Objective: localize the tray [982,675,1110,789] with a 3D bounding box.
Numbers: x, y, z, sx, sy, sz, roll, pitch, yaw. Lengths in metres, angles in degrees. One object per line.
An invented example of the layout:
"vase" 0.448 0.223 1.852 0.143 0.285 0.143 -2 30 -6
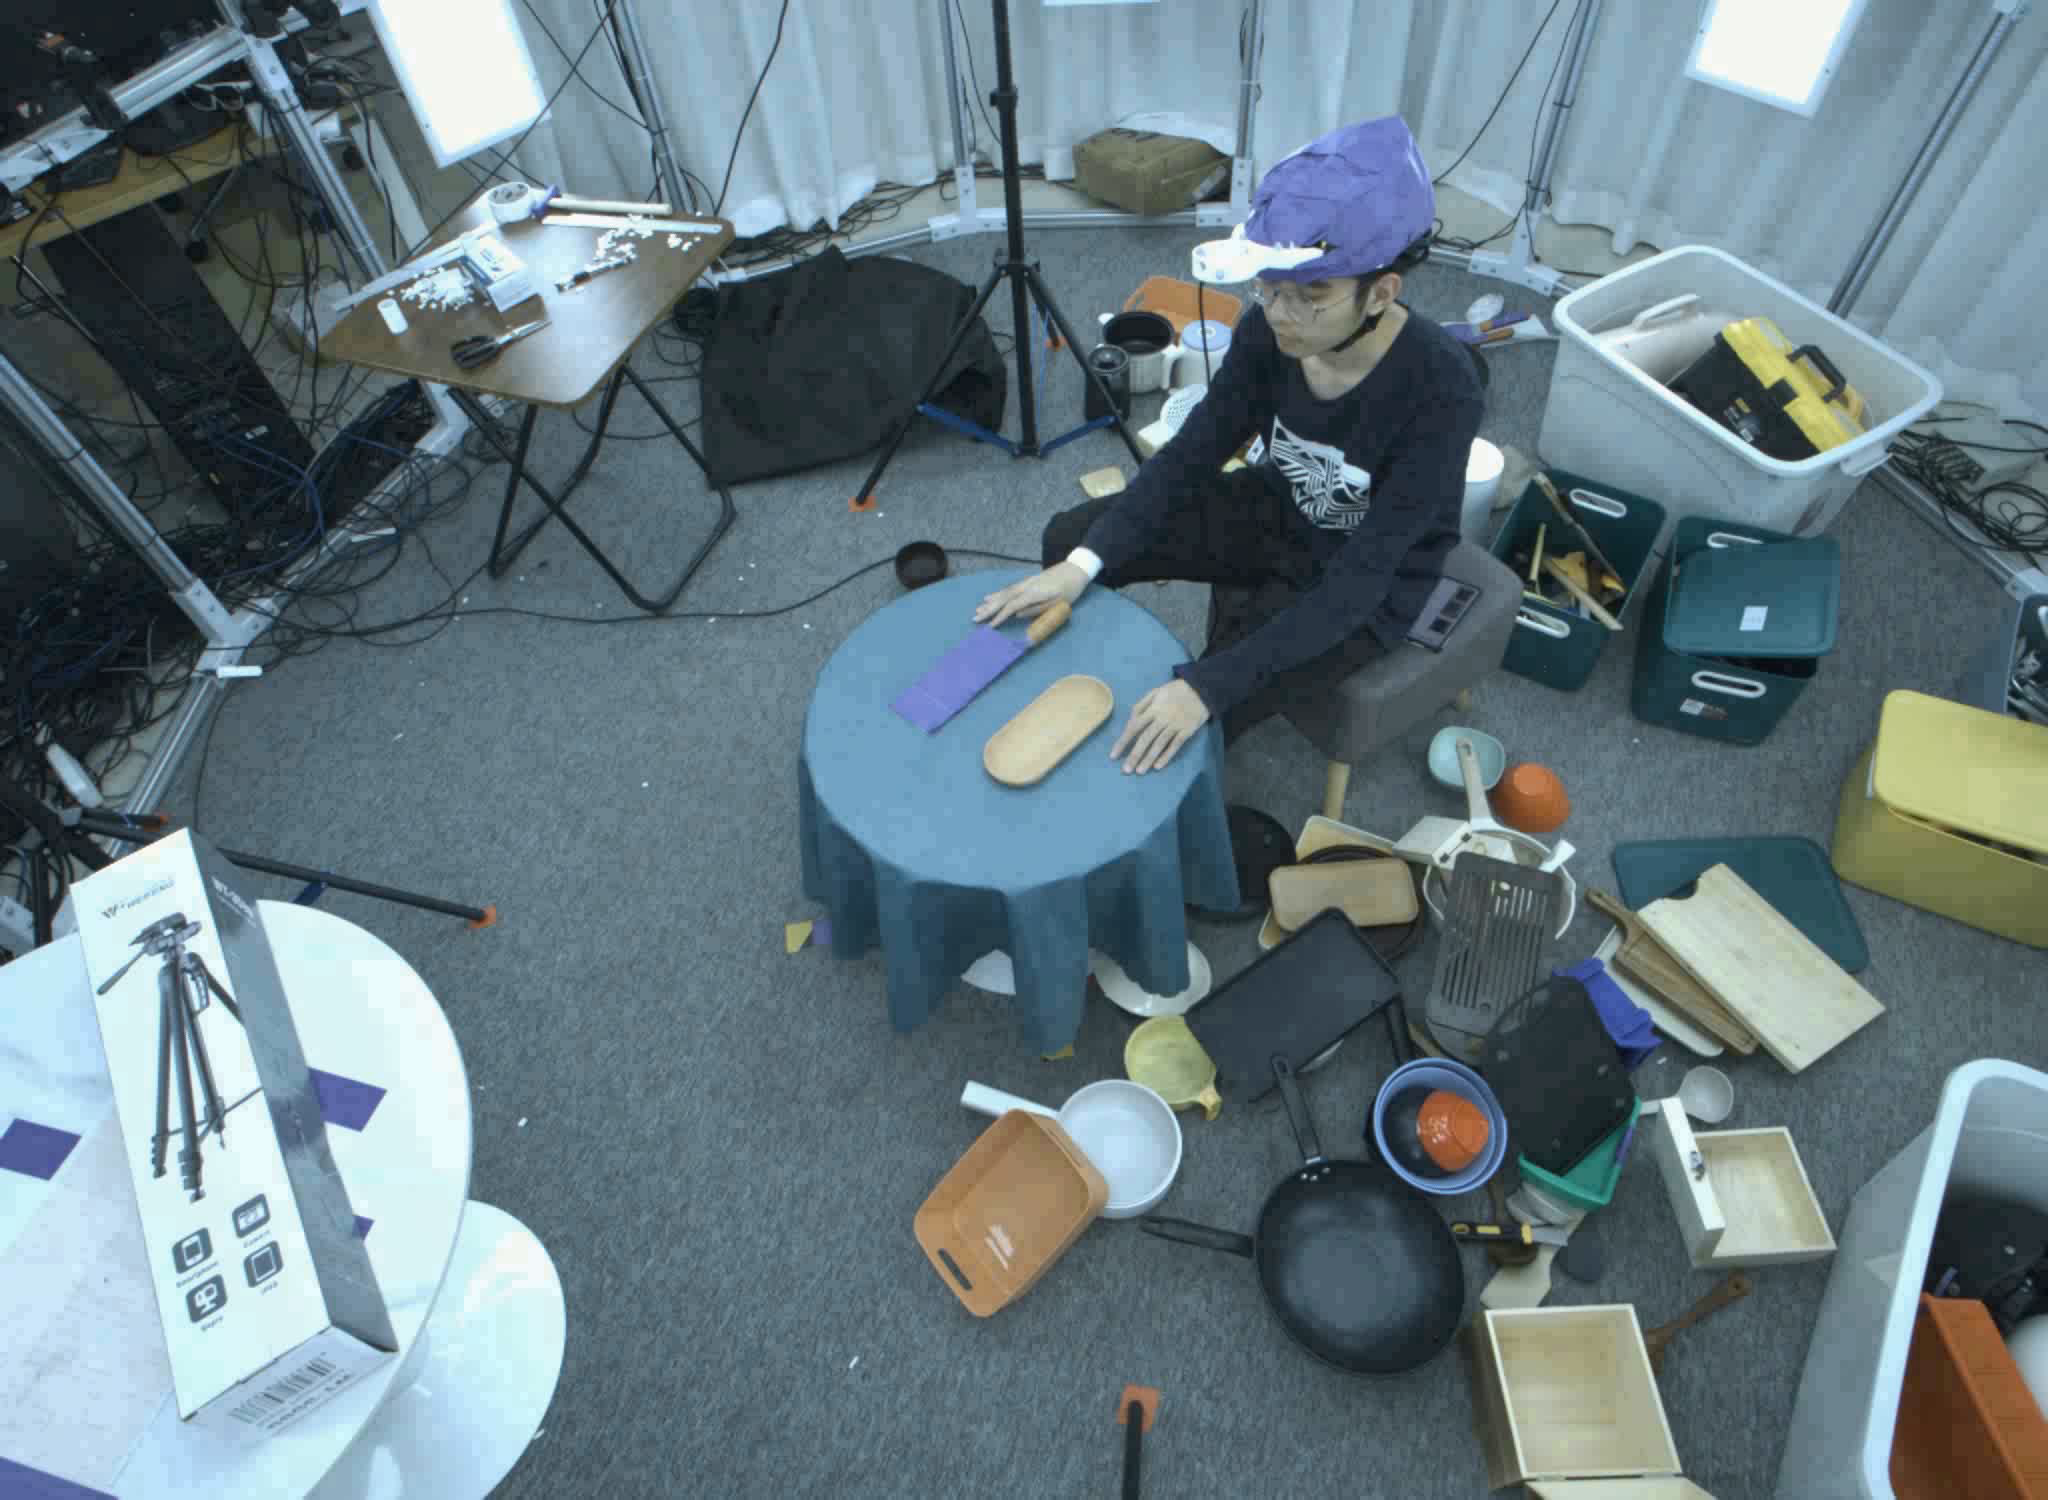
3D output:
"tray" 0.034 -0.027 1.804 0.100 0.020 0.232 35 63 24

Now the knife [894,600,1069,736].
"knife" -0.067 -0.144 1.883 0.102 0.032 0.317 36 63 24
